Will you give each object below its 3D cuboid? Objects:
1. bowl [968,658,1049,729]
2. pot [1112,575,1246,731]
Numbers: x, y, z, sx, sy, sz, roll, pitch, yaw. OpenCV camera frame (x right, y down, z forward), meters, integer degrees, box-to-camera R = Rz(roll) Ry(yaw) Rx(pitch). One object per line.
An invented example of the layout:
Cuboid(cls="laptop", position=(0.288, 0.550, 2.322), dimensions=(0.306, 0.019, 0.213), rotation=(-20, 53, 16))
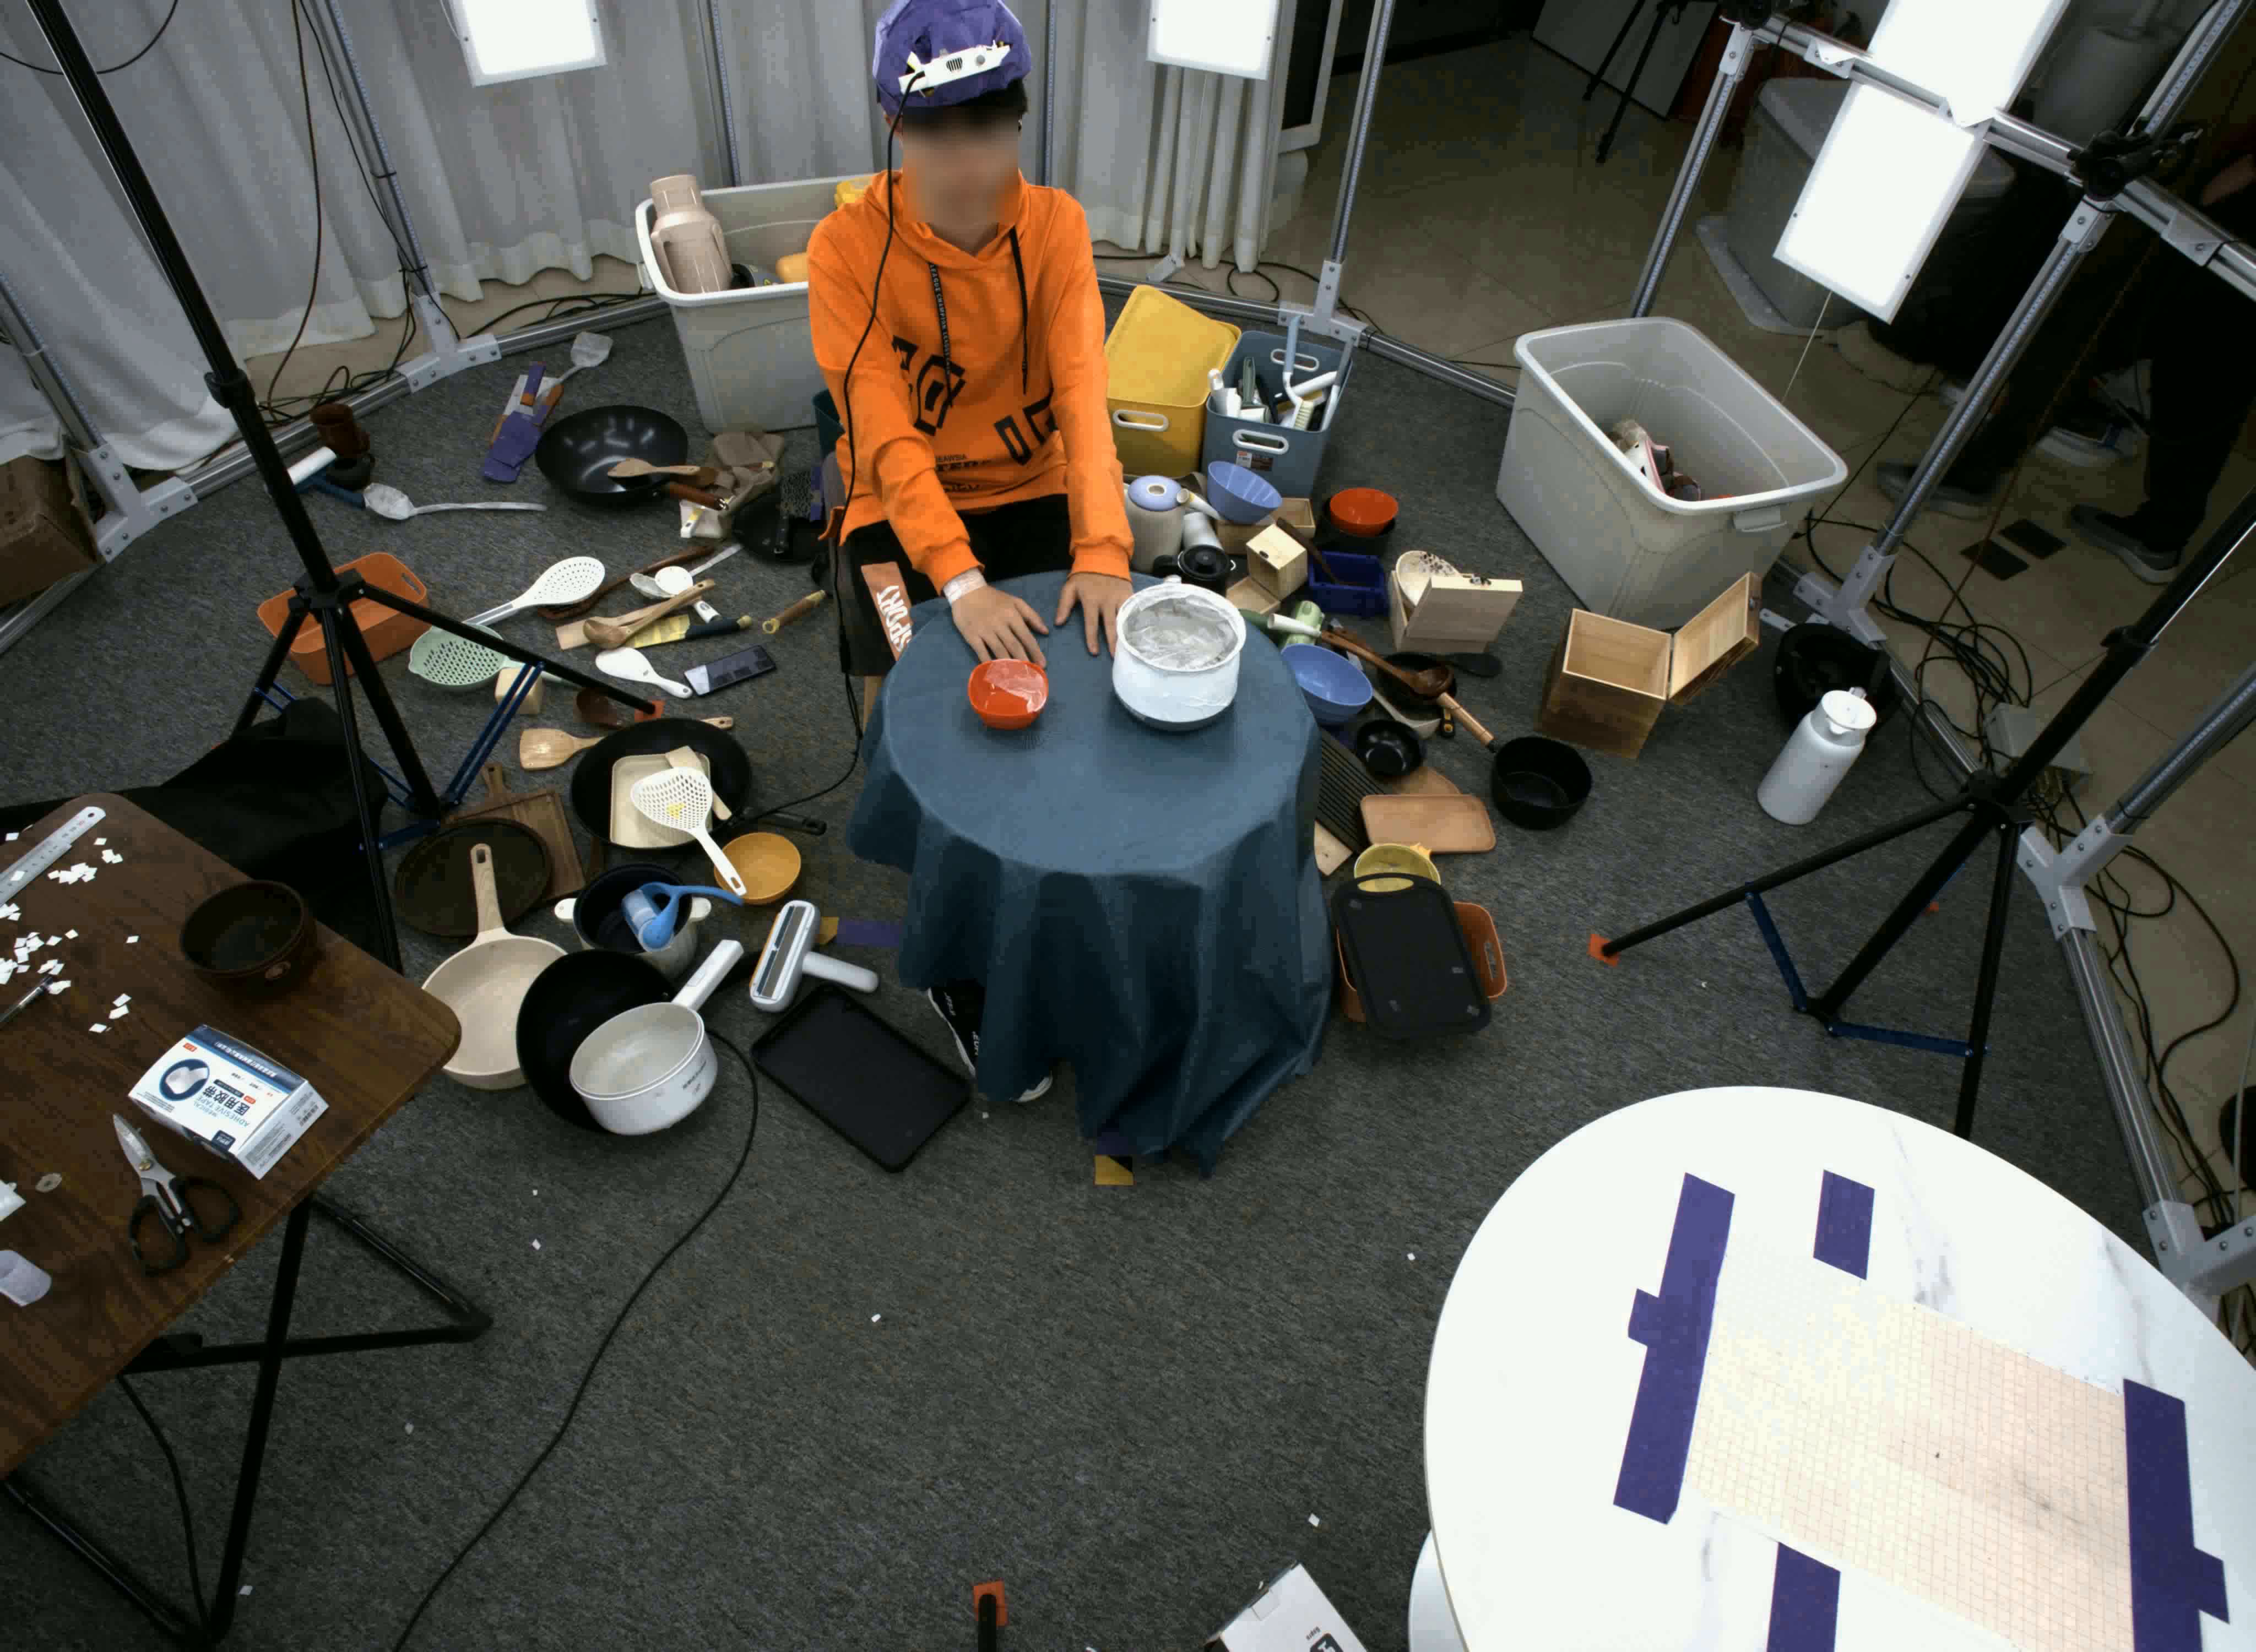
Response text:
Cuboid(cls="bowl", position=(-0.165, -0.177, 1.777), dimensions=(0.119, 0.050, 0.122), rotation=(1, 51, -2))
Cuboid(cls="pot", position=(0.065, -0.252, 1.803), dimensions=(0.178, 0.133, 0.239), rotation=(-2, 50, -6))
